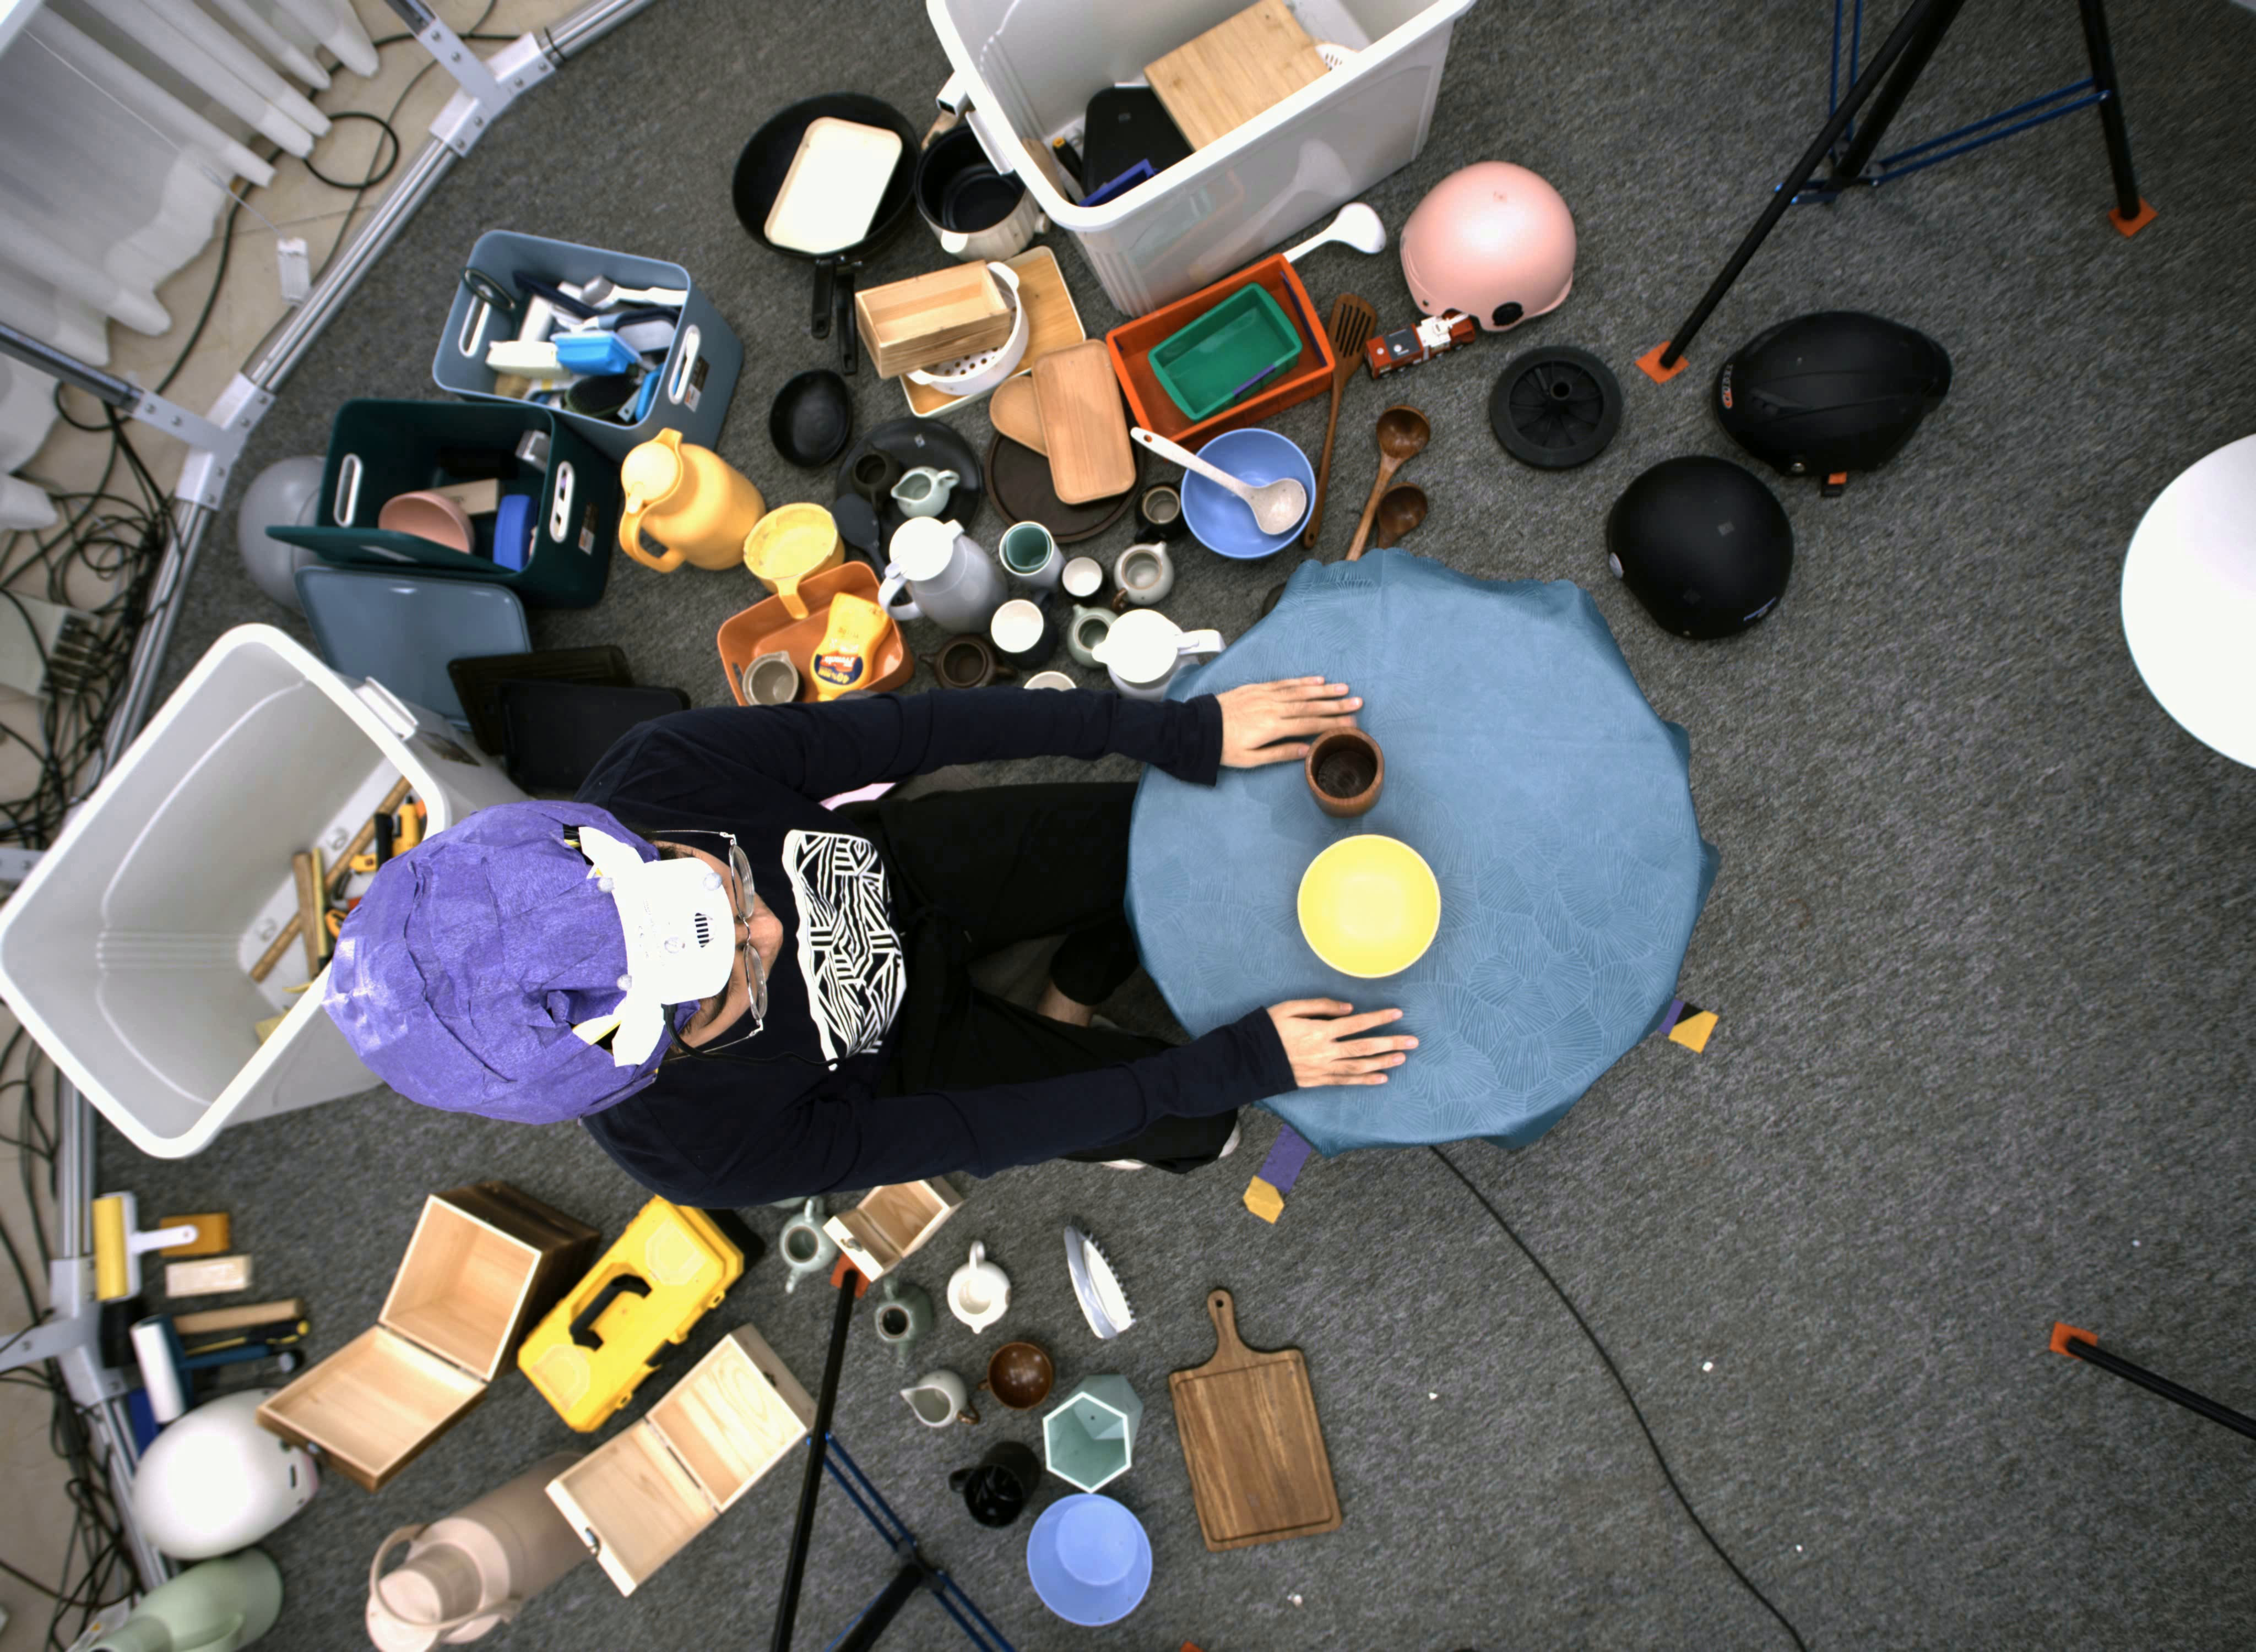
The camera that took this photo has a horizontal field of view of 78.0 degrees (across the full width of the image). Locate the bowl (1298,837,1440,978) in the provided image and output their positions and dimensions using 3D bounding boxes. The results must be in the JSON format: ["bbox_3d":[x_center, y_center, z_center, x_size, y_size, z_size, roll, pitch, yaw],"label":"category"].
[{"bbox_3d":[0.250,0.085,1.433,0.146,0.060,0.144,-1,85,12],"label":"bowl"}]

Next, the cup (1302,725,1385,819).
[{"bbox_3d":[0.223,-0.053,1.414,0.088,0.118,0.087,-1,83,11],"label":"cup"}]
